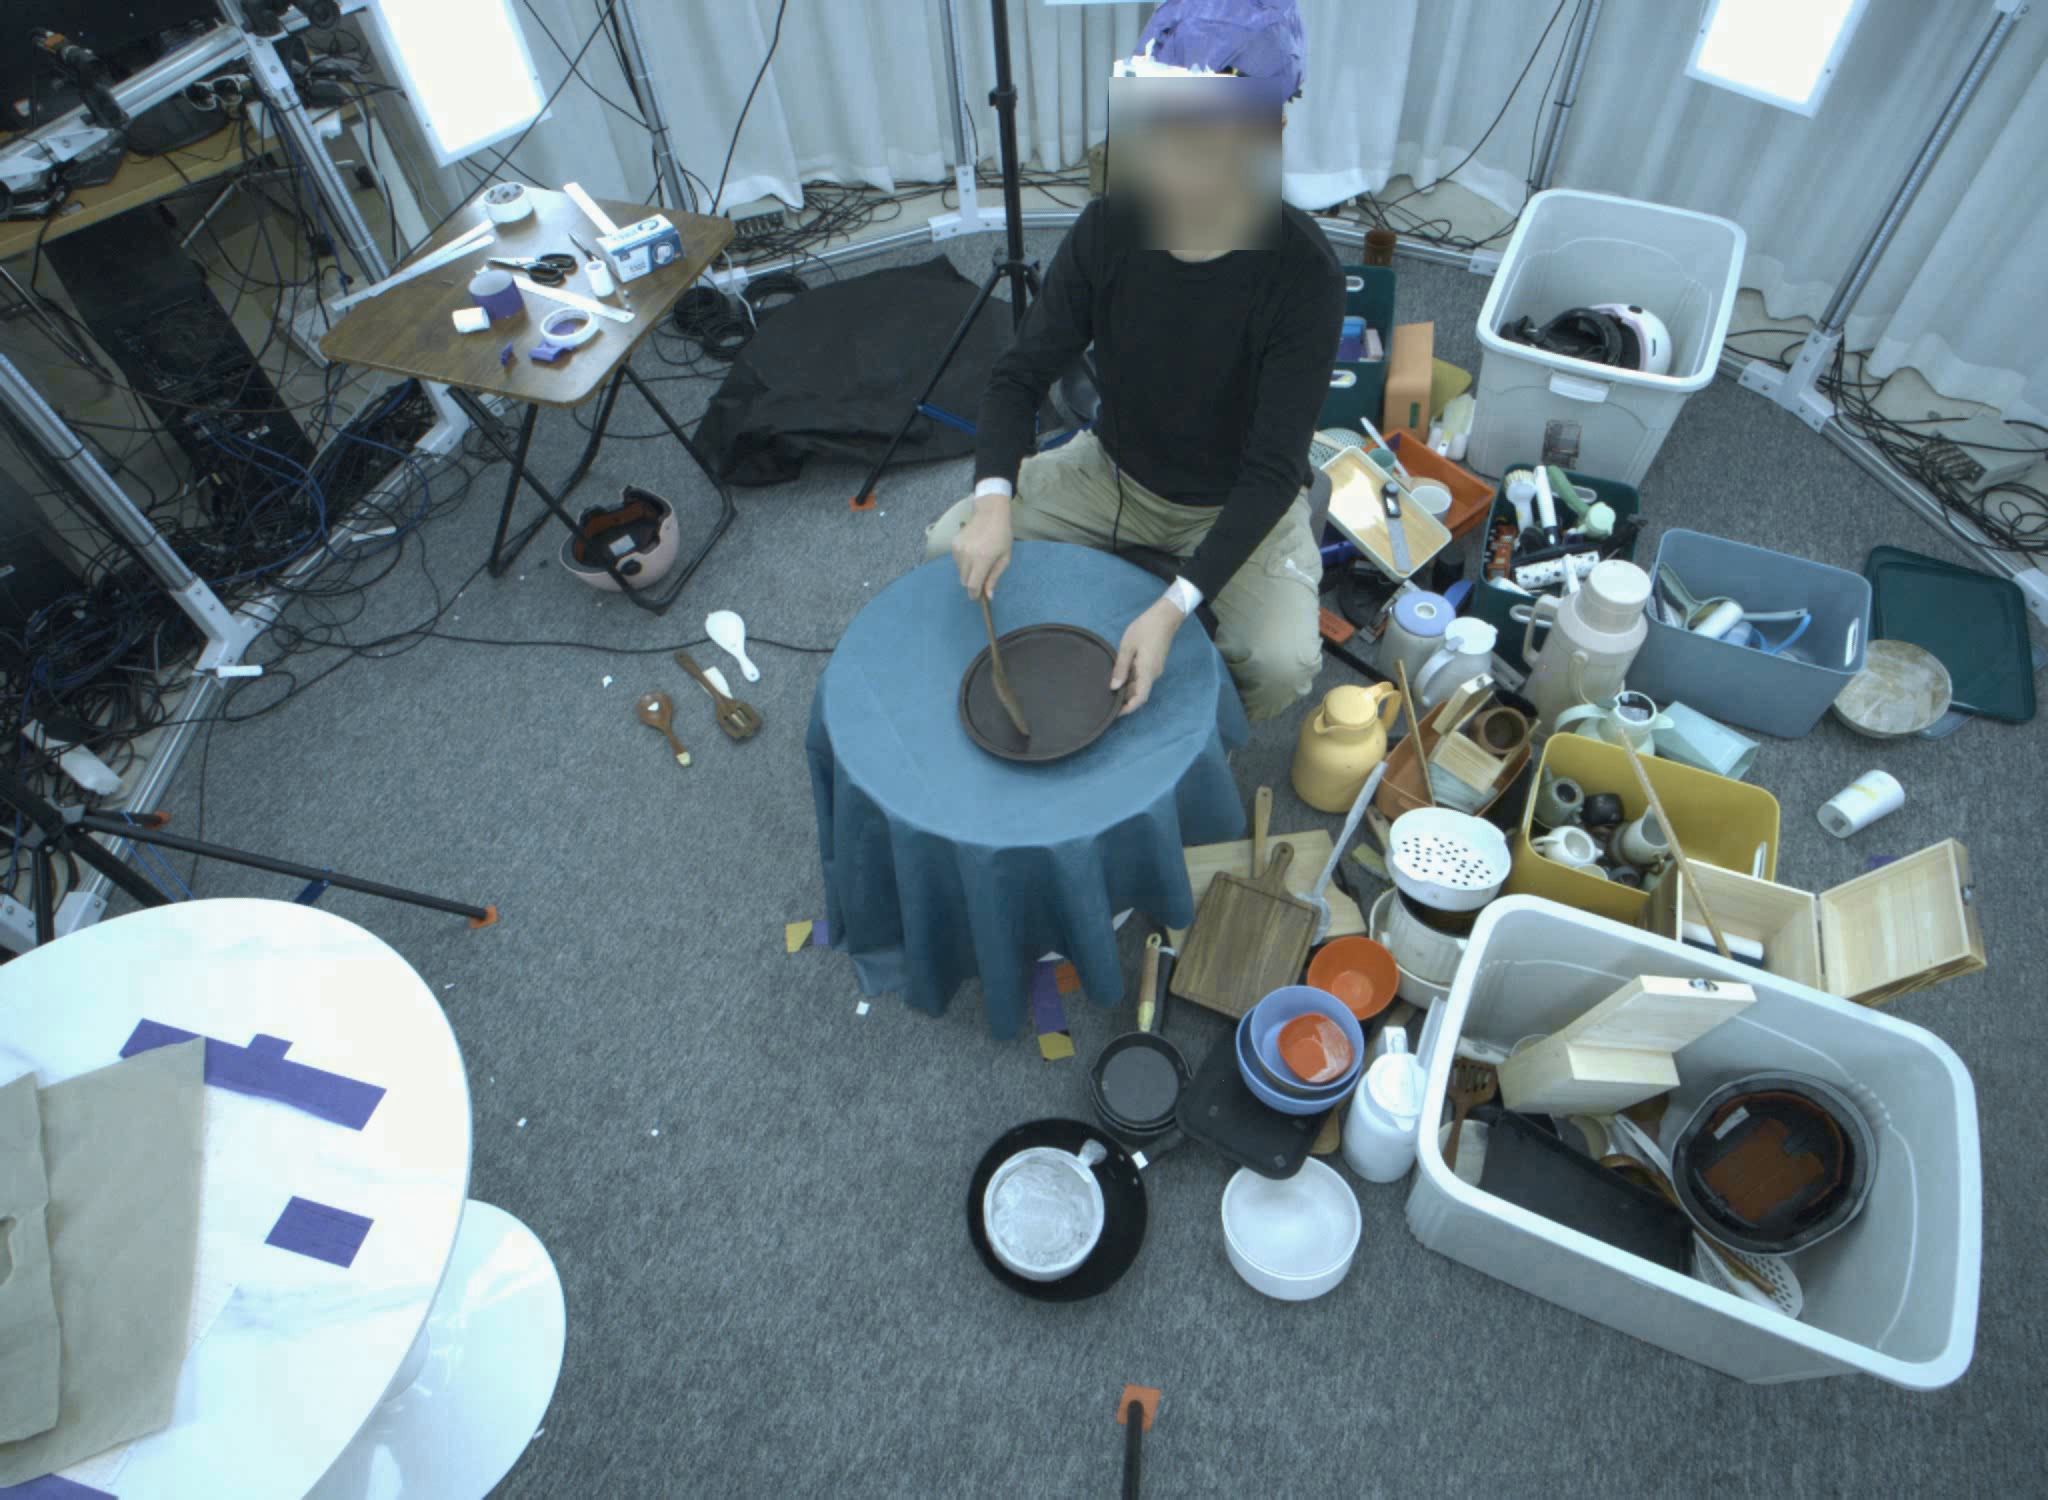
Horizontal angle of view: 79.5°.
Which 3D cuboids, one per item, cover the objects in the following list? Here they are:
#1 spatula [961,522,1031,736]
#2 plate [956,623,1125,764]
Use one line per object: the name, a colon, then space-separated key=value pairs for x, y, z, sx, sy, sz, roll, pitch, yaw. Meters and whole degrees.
spatula: x=-0.049 y=-0.191 z=1.815 sx=0.015 sy=0.098 sz=0.381 roll=-20 pitch=62 yaw=11
plate: x=0.025 y=-0.085 z=1.814 sx=0.253 sy=0.029 sz=0.252 roll=-5 pitch=56 yaw=9
